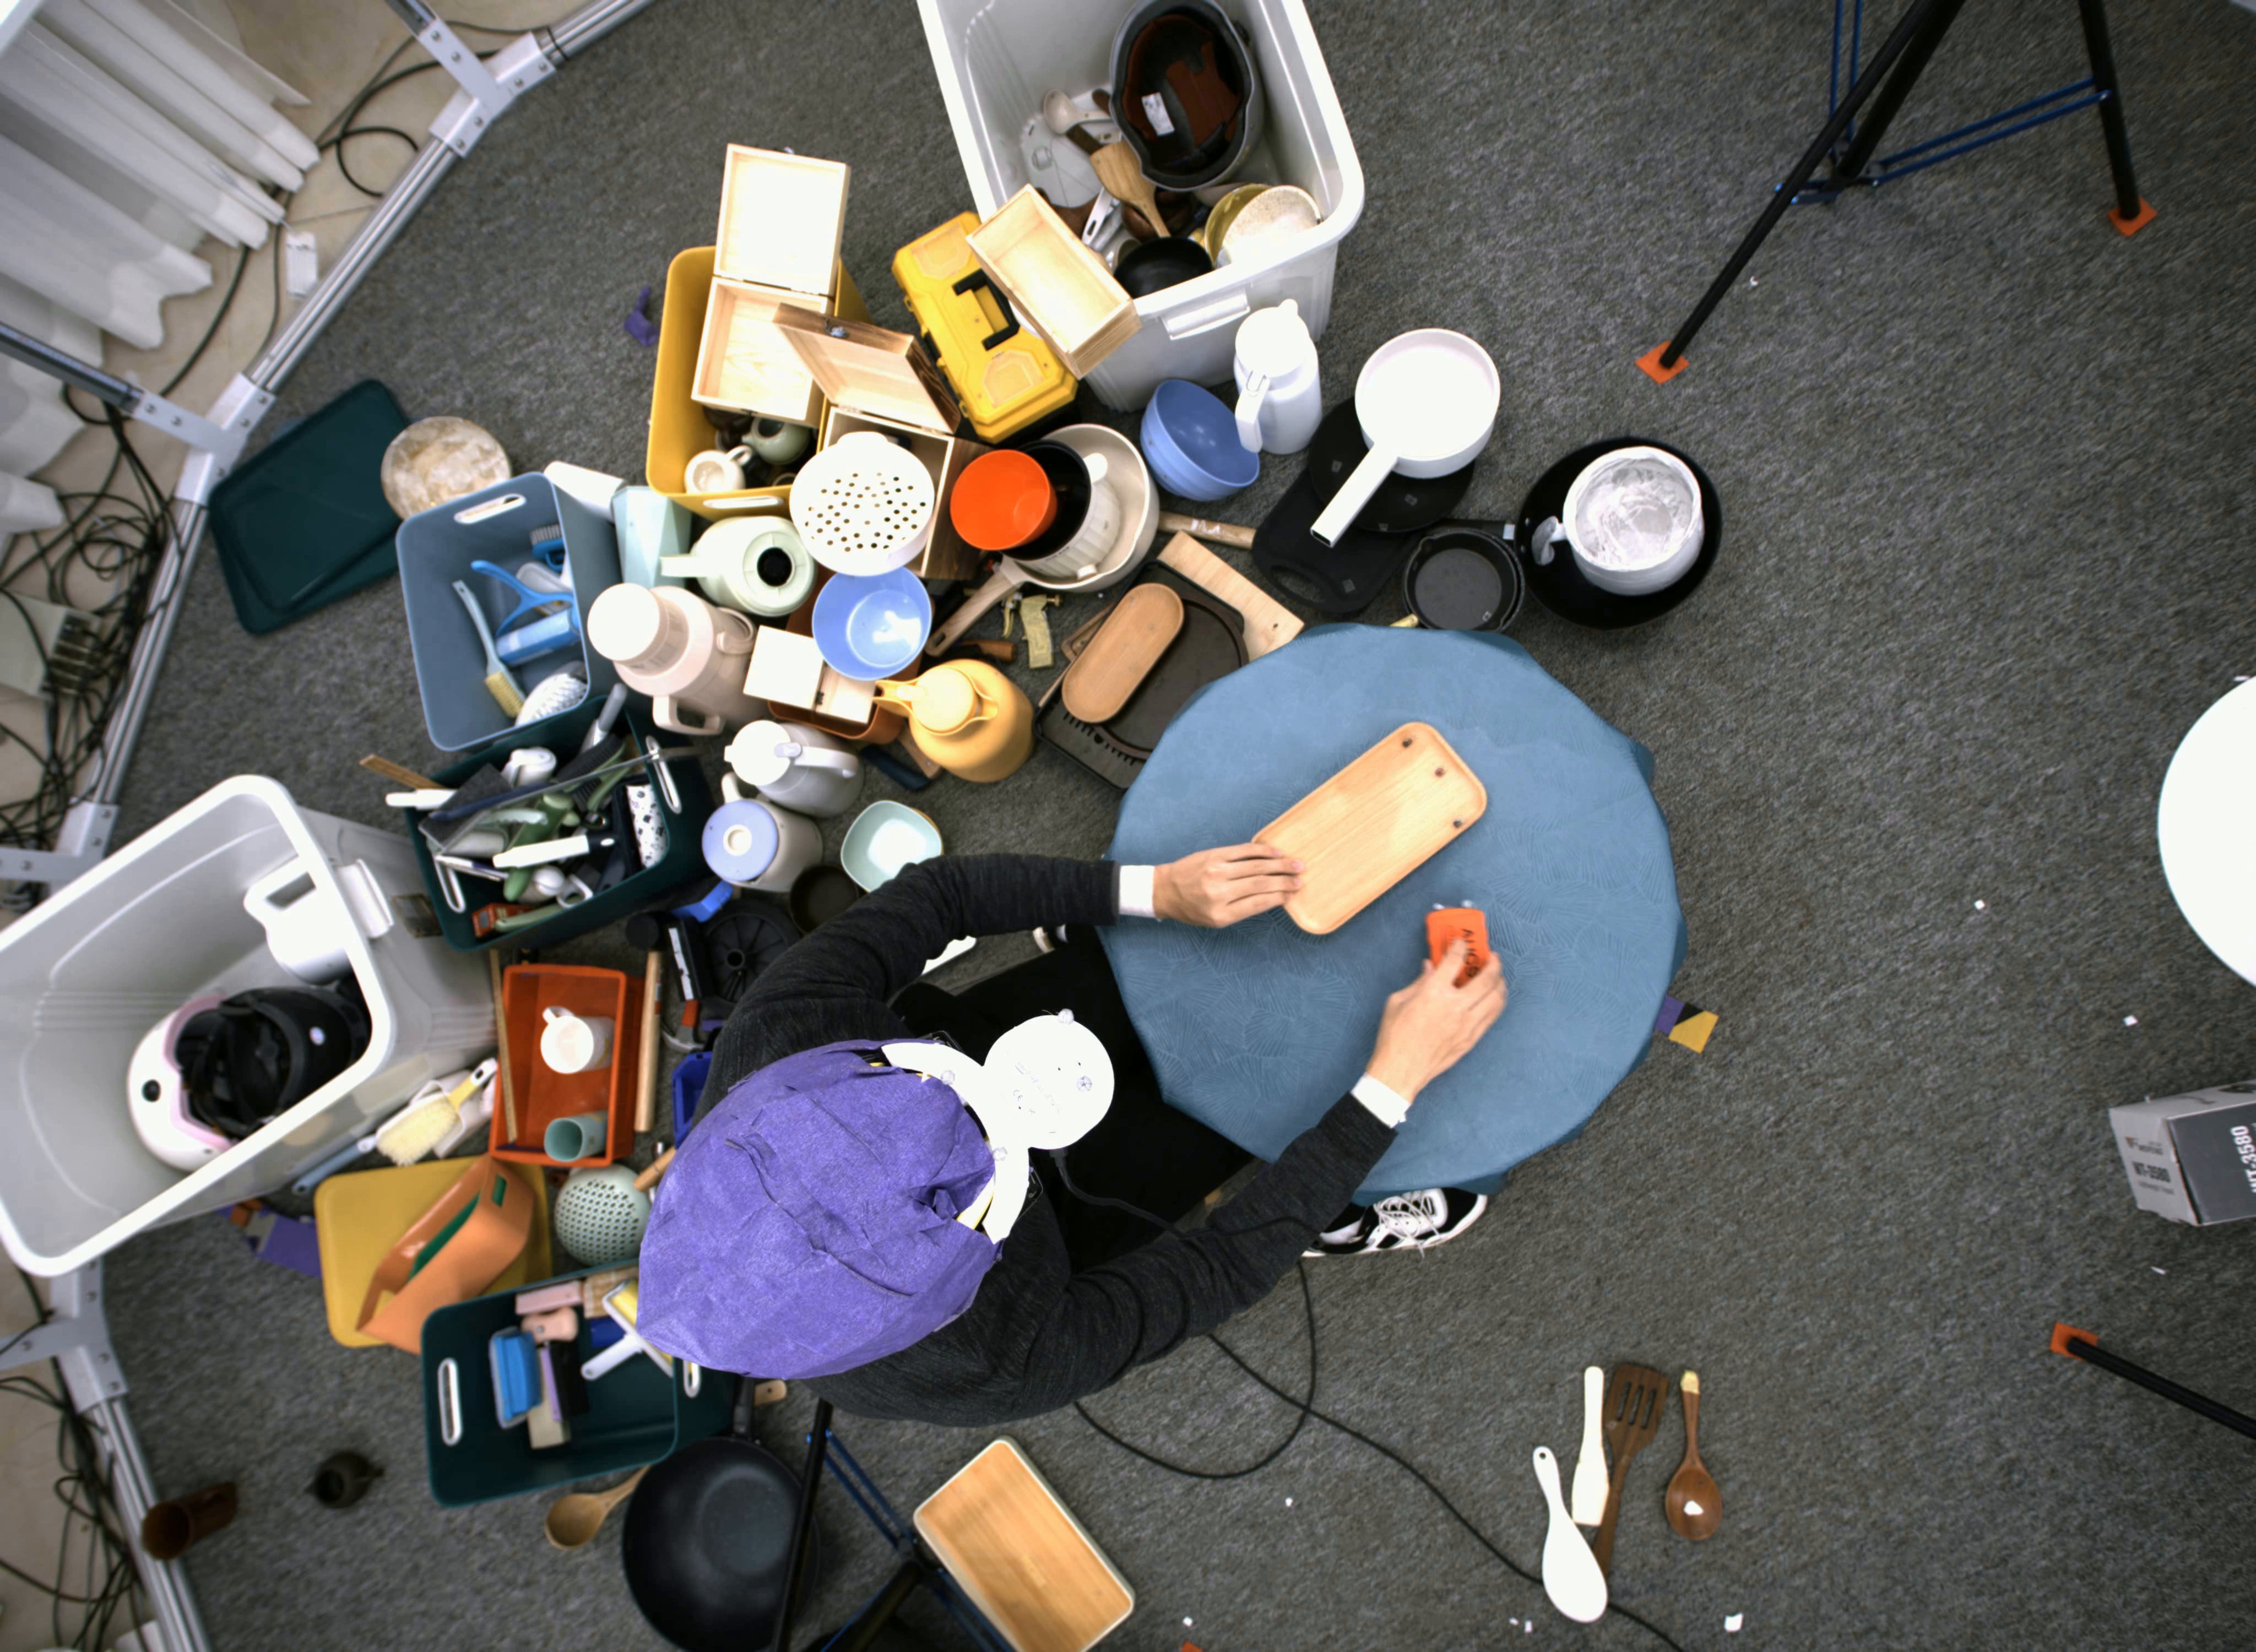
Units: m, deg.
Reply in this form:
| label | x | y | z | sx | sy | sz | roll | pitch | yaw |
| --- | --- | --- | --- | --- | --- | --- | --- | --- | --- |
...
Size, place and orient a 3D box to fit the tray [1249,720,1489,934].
| label | x | y | z | sx | sy | sz | roll | pitch | yaw |
| --- | --- | --- | --- | --- | --- | --- | --- | --- | --- |
| tray | 0.250 | -0.001 | 1.430 | 0.249 | 0.023 | 0.129 | -36 | 78 | -7 |

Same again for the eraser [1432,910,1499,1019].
| label | x | y | z | sx | sy | sz | roll | pitch | yaw |
| --- | --- | --- | --- | --- | --- | --- | --- | --- | --- |
| eraser | 0.345 | 0.139 | 1.406 | 0.059 | 0.023 | 0.108 | -6 | 89 | 10 |
